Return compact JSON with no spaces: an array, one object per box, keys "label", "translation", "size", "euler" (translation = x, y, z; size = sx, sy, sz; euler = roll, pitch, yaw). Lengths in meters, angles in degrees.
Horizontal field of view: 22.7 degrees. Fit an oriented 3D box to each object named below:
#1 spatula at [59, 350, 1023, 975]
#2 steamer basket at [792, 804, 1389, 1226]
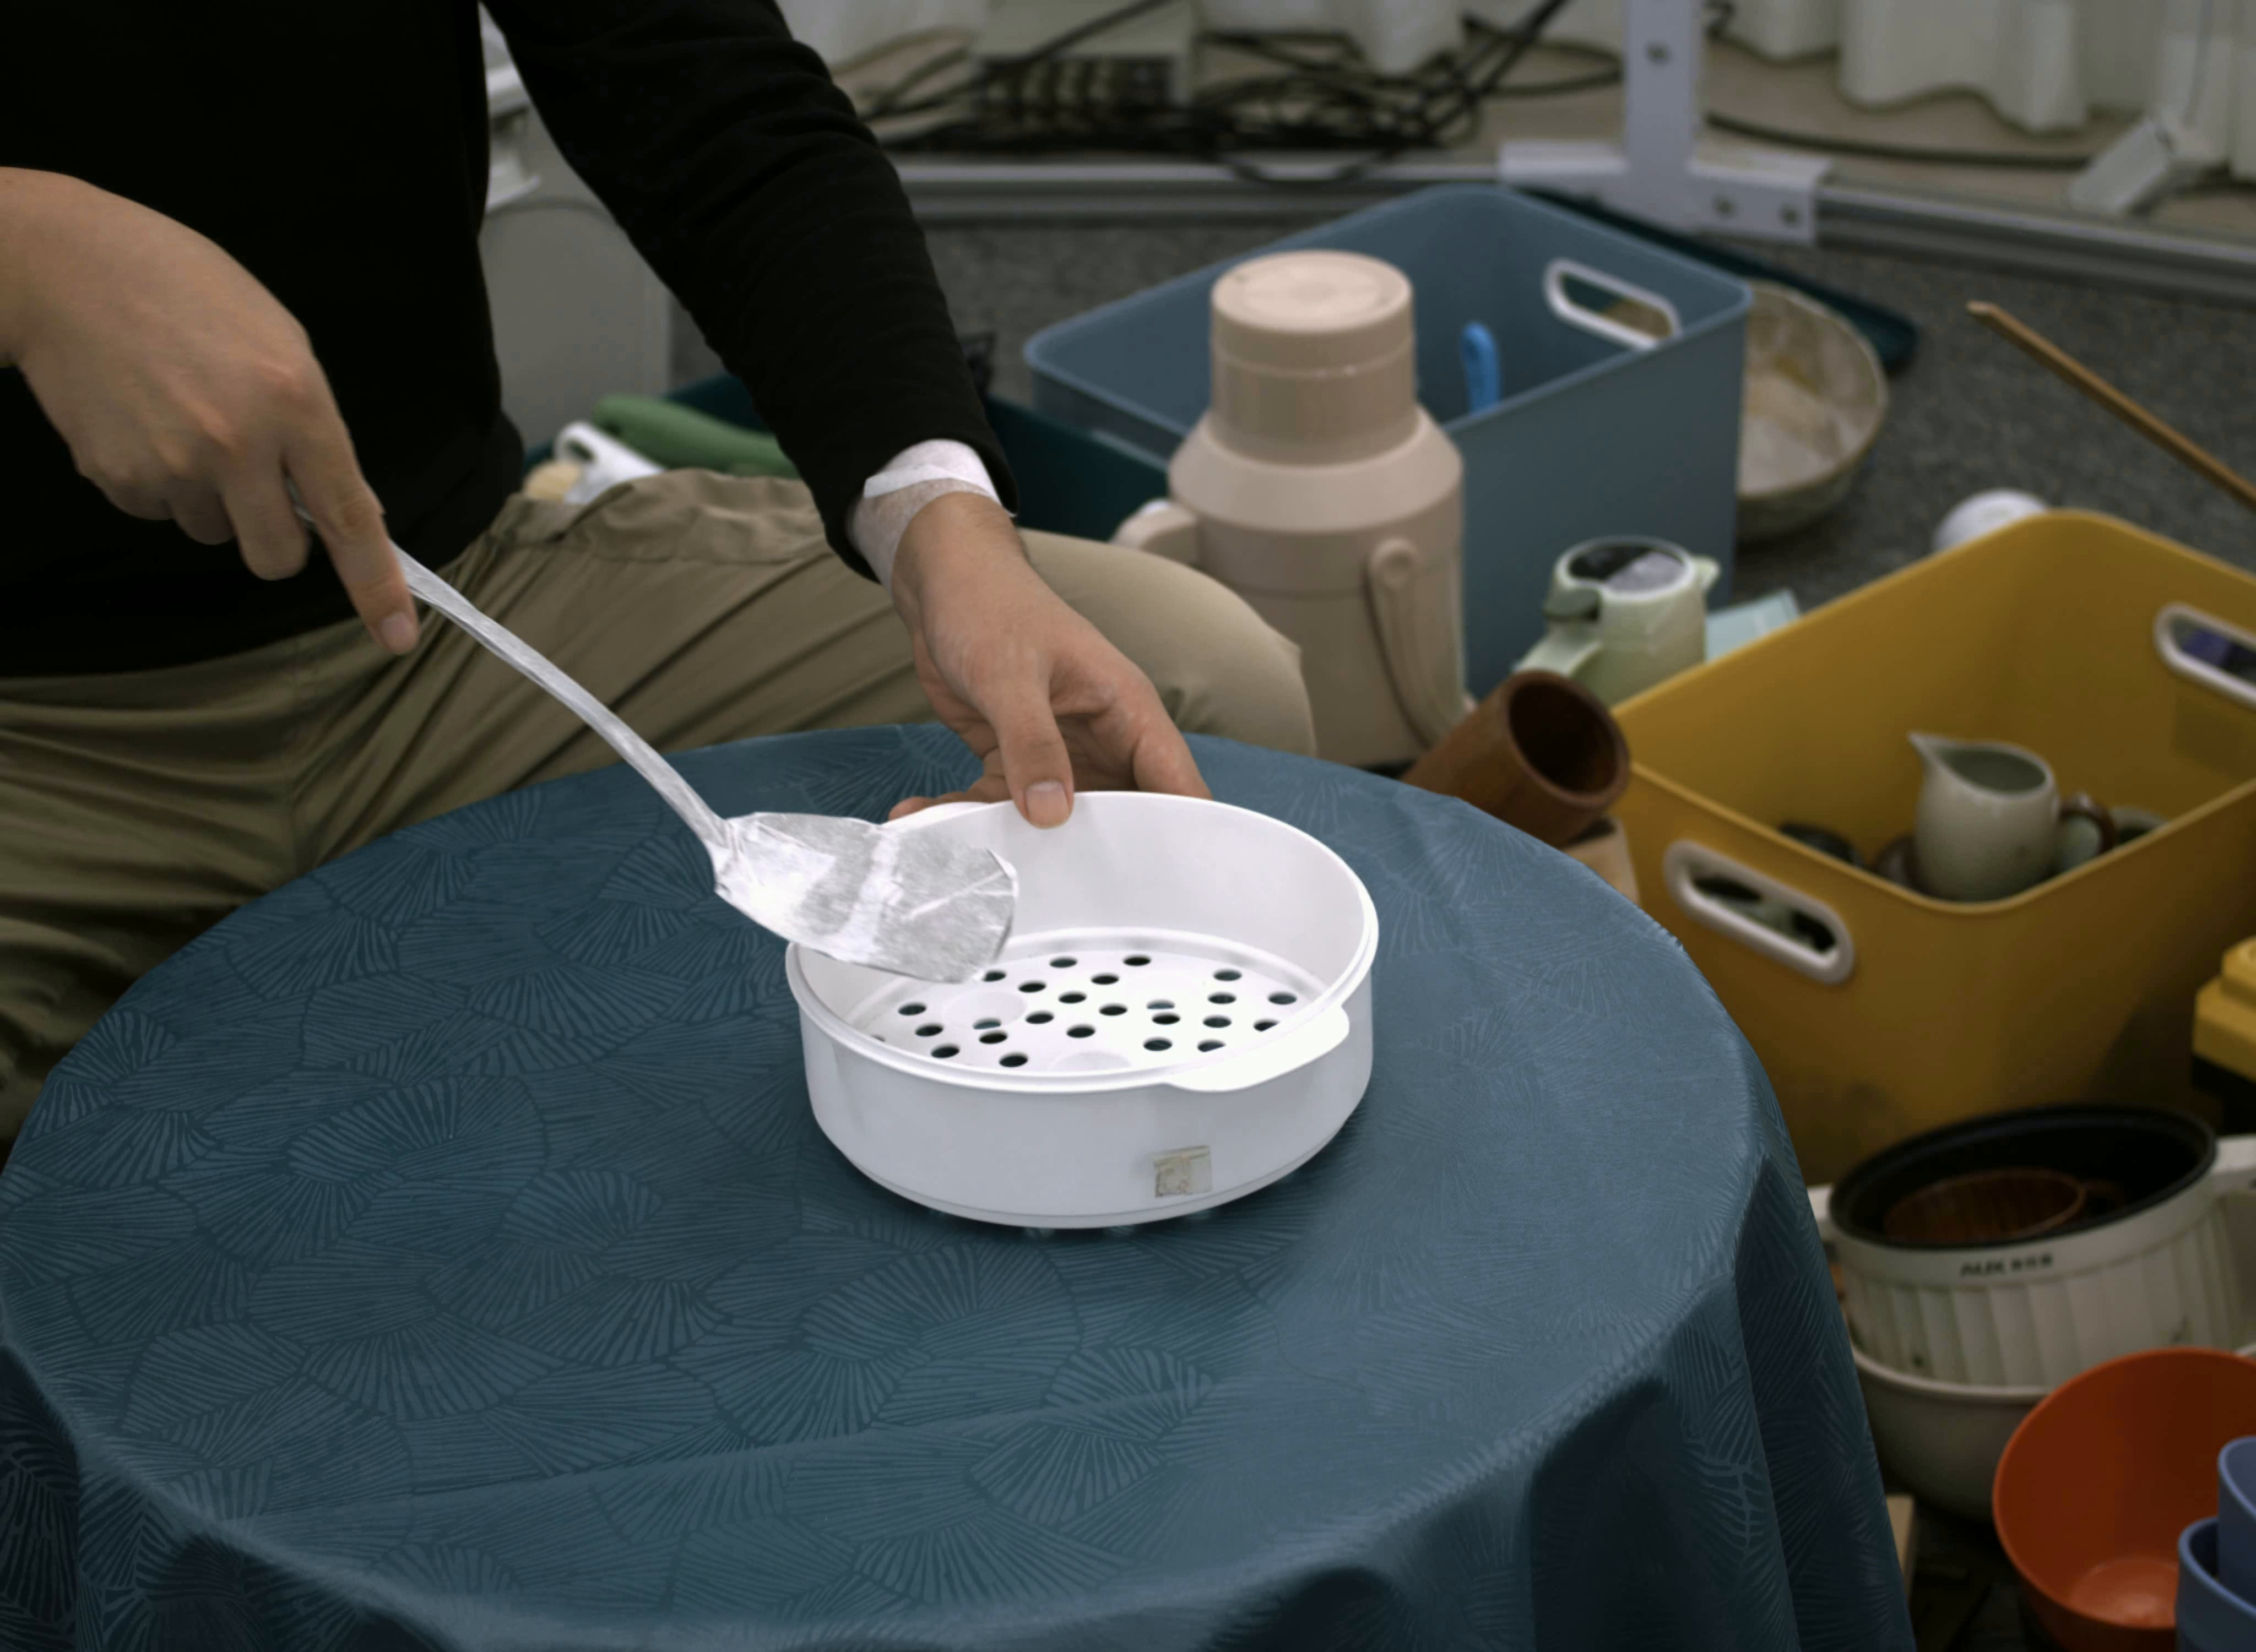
[{"label":"spatula","translation":[-0.196,-0.058,1.849],"size":[0.364,0.044,0.100],"euler":[36,28,-5]},{"label":"steamer basket","translation":[-0.011,0.064,1.898],"size":[0.203,0.068,0.231],"euler":[-20,30,-32]}]
